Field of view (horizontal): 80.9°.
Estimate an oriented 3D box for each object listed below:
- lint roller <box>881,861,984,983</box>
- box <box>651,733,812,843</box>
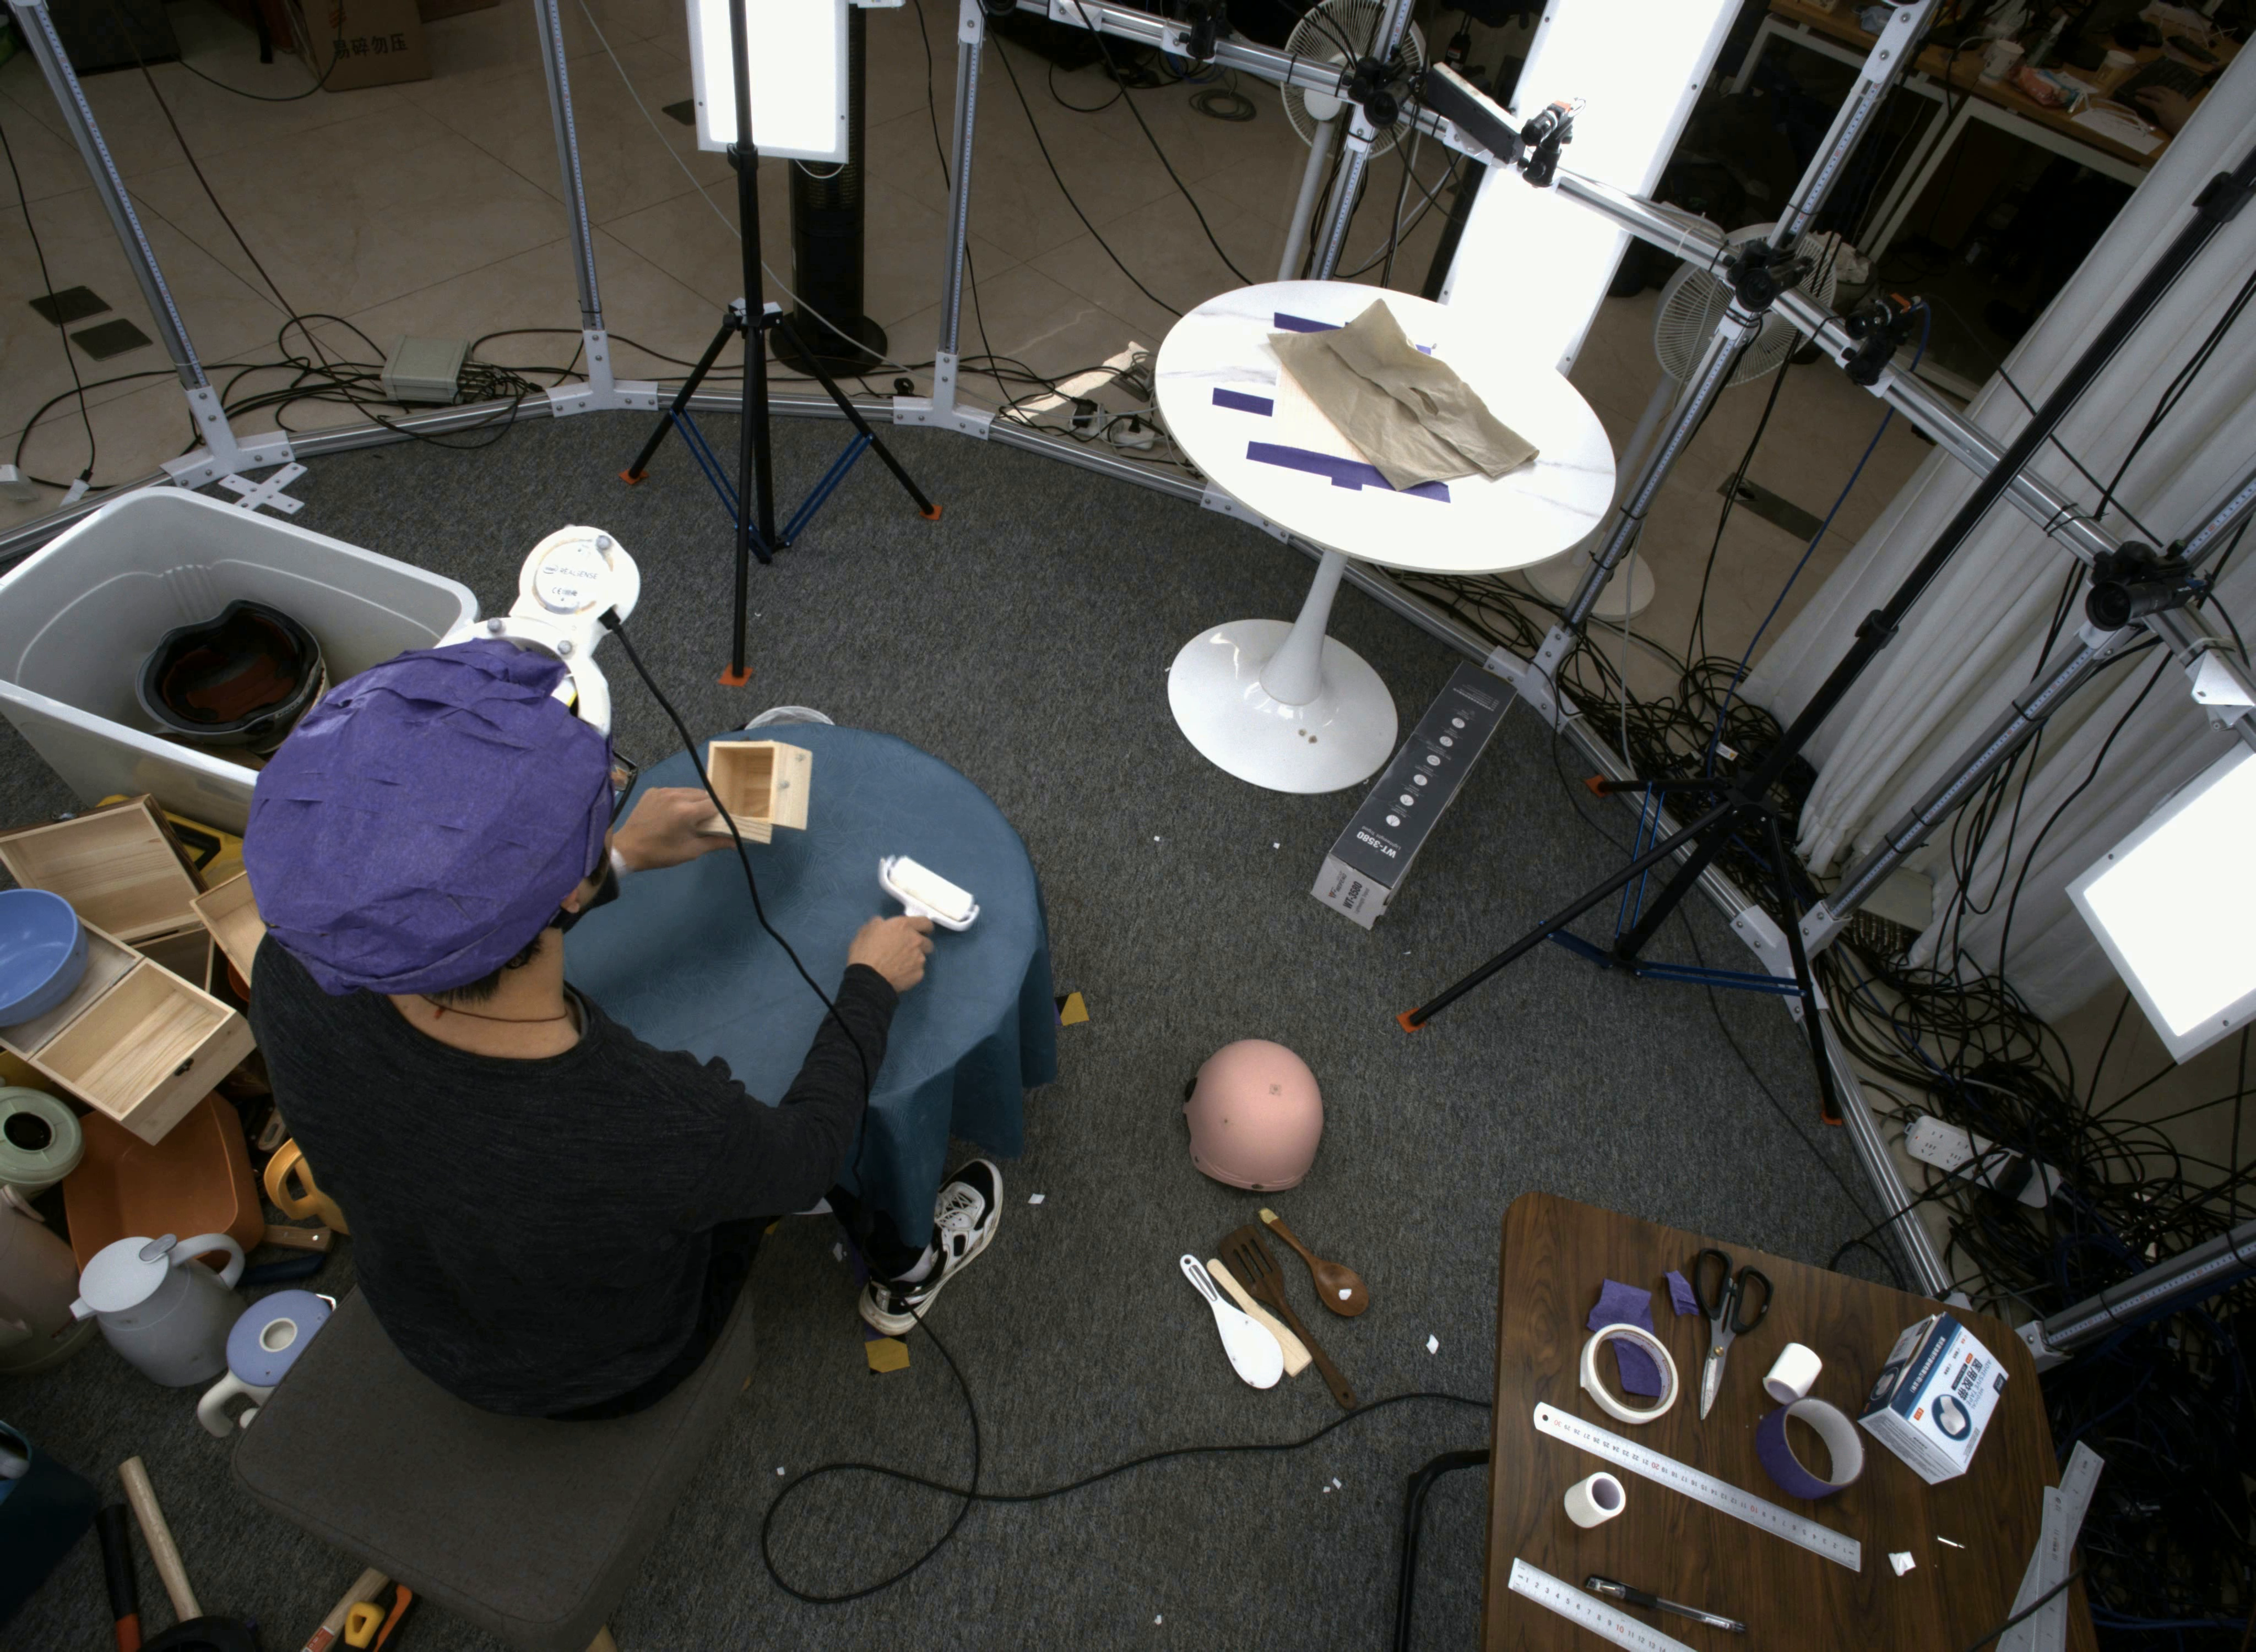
[{"bbox_3d":[-0.263,0.119,1.611,0.133,0.051,0.179,28,34,-4],"label":"lint roller"},{"bbox_3d":[-0.479,-0.050,1.571,0.100,0.188,0.135,2,84,16],"label":"box"}]
